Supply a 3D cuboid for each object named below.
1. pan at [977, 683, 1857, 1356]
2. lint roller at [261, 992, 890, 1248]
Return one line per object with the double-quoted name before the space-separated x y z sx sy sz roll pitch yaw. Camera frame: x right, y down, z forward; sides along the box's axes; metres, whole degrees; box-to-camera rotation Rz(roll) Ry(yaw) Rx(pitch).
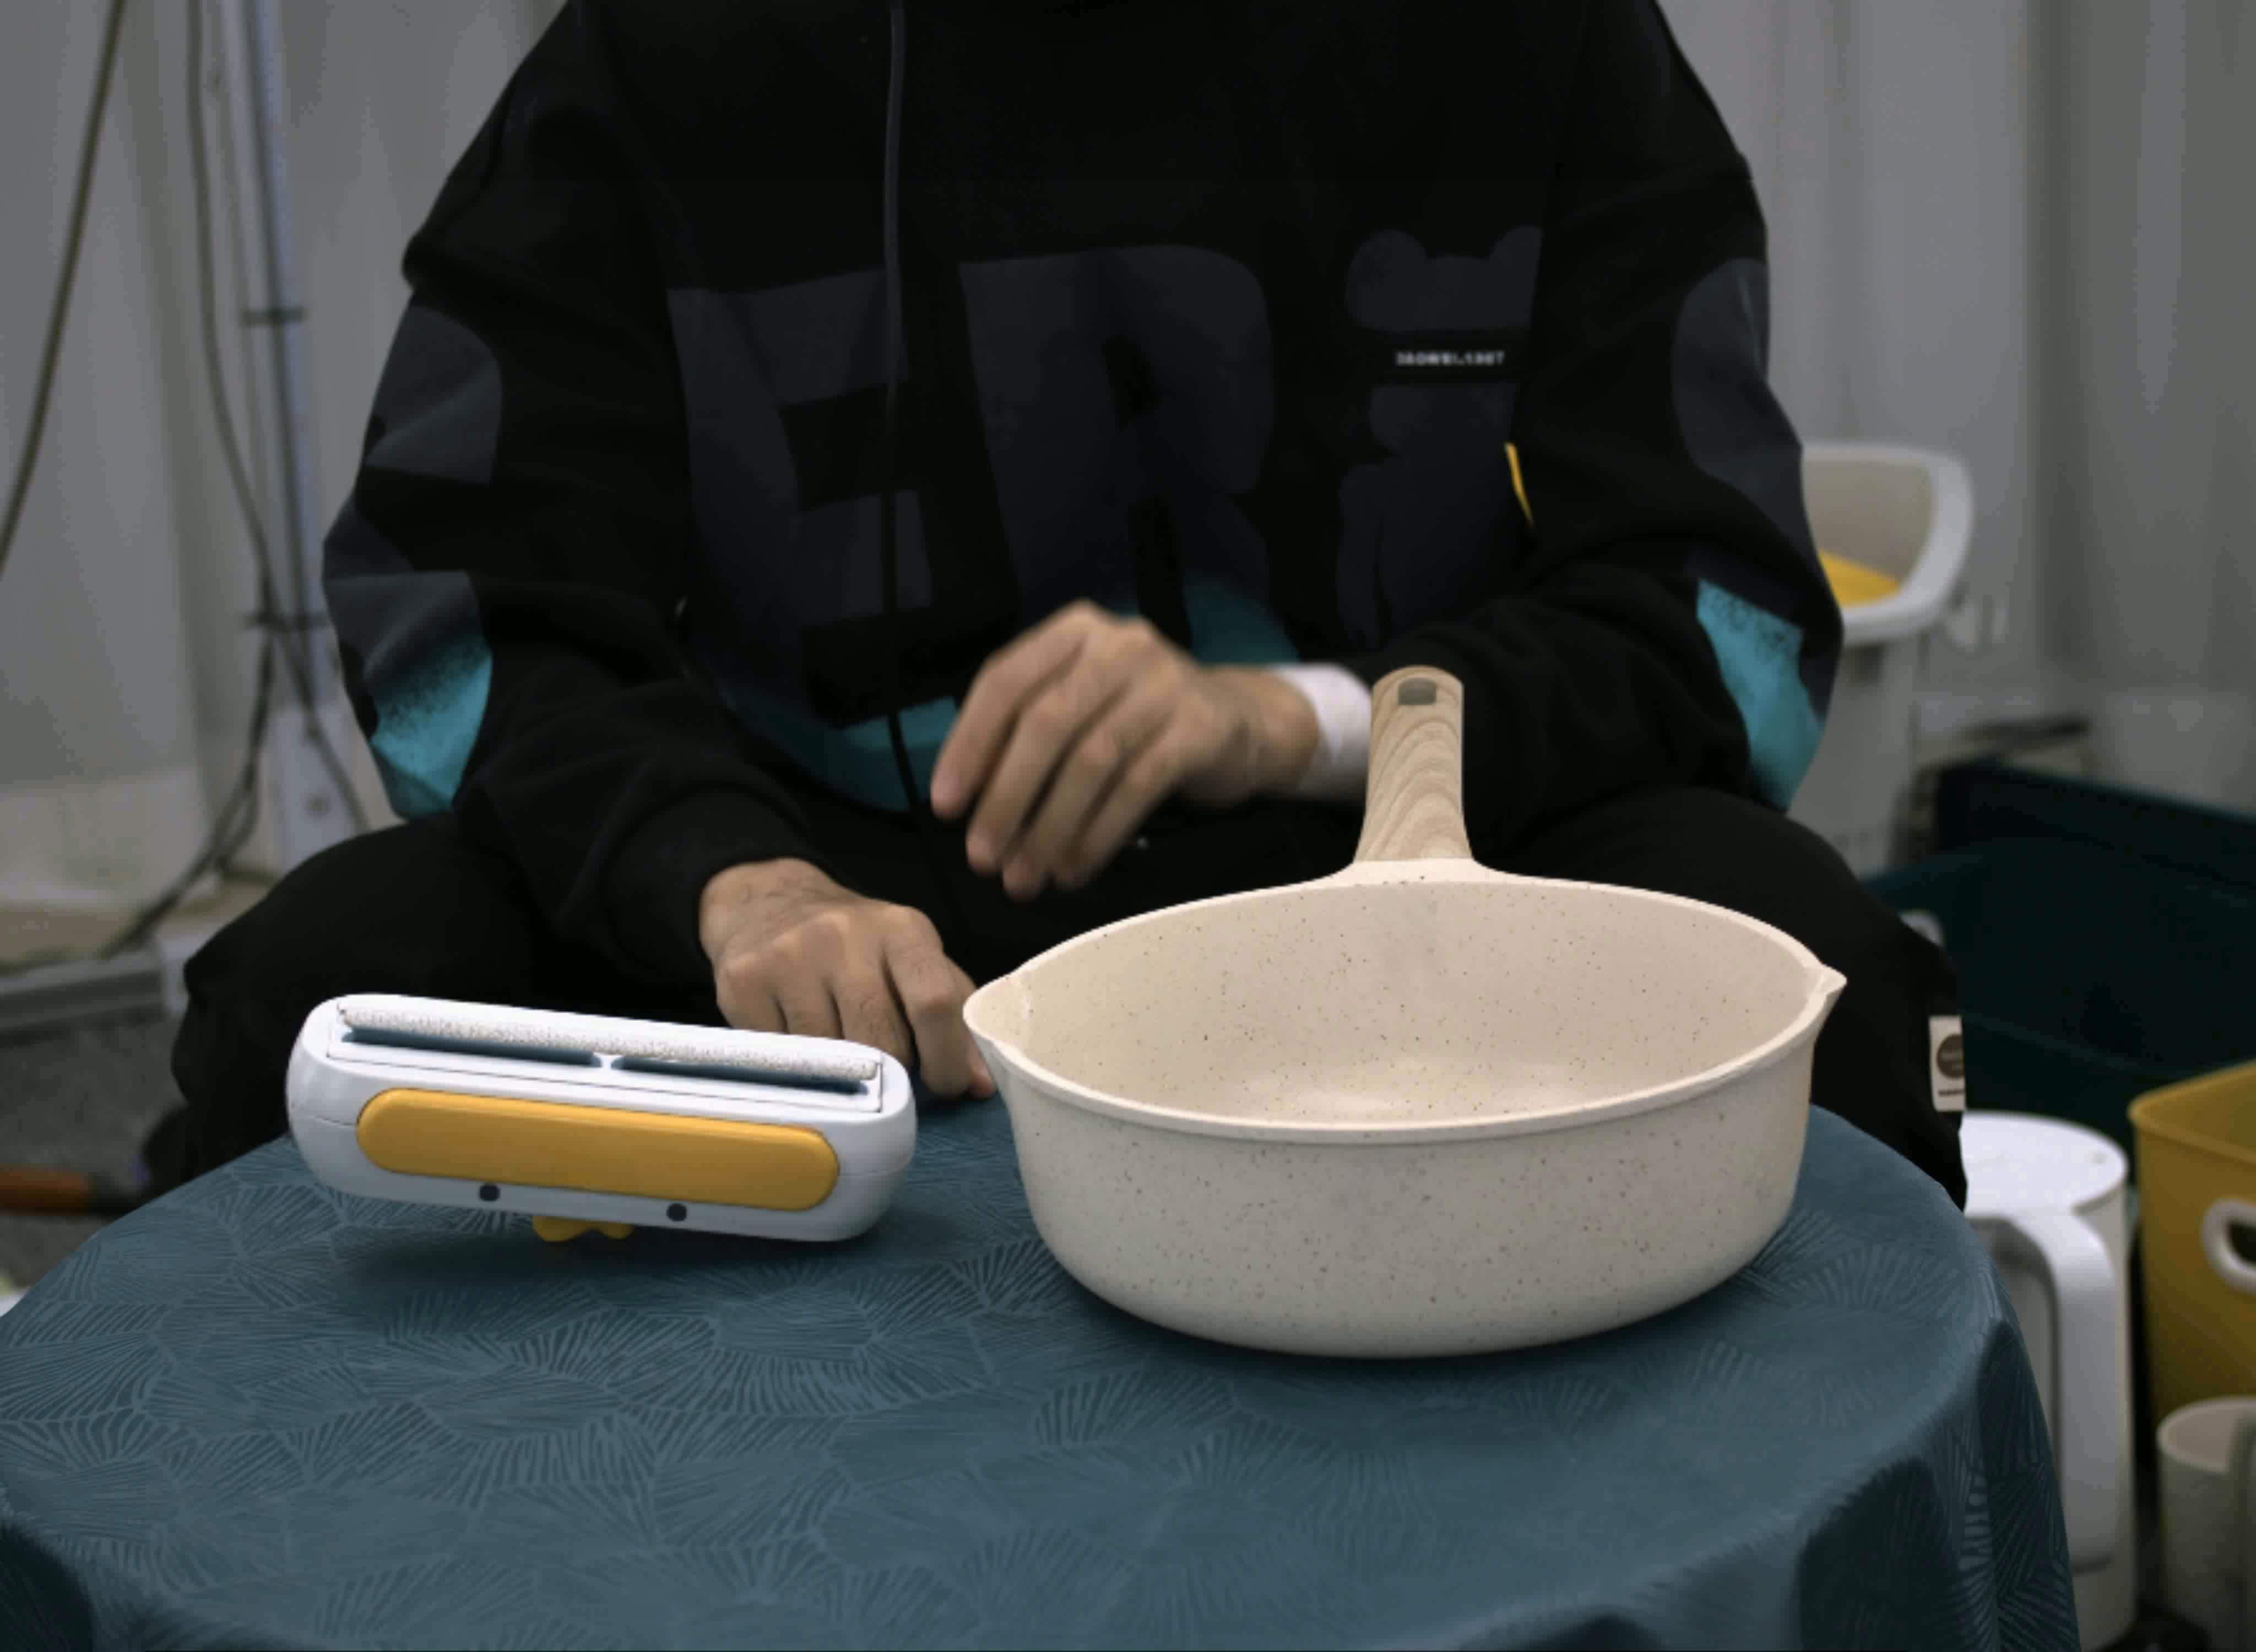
"pan" 0.093 0.056 1.723 0.262 0.101 0.437 -4 15 4
"lint roller" -0.169 0.083 1.738 0.192 0.074 0.193 2 13 0
